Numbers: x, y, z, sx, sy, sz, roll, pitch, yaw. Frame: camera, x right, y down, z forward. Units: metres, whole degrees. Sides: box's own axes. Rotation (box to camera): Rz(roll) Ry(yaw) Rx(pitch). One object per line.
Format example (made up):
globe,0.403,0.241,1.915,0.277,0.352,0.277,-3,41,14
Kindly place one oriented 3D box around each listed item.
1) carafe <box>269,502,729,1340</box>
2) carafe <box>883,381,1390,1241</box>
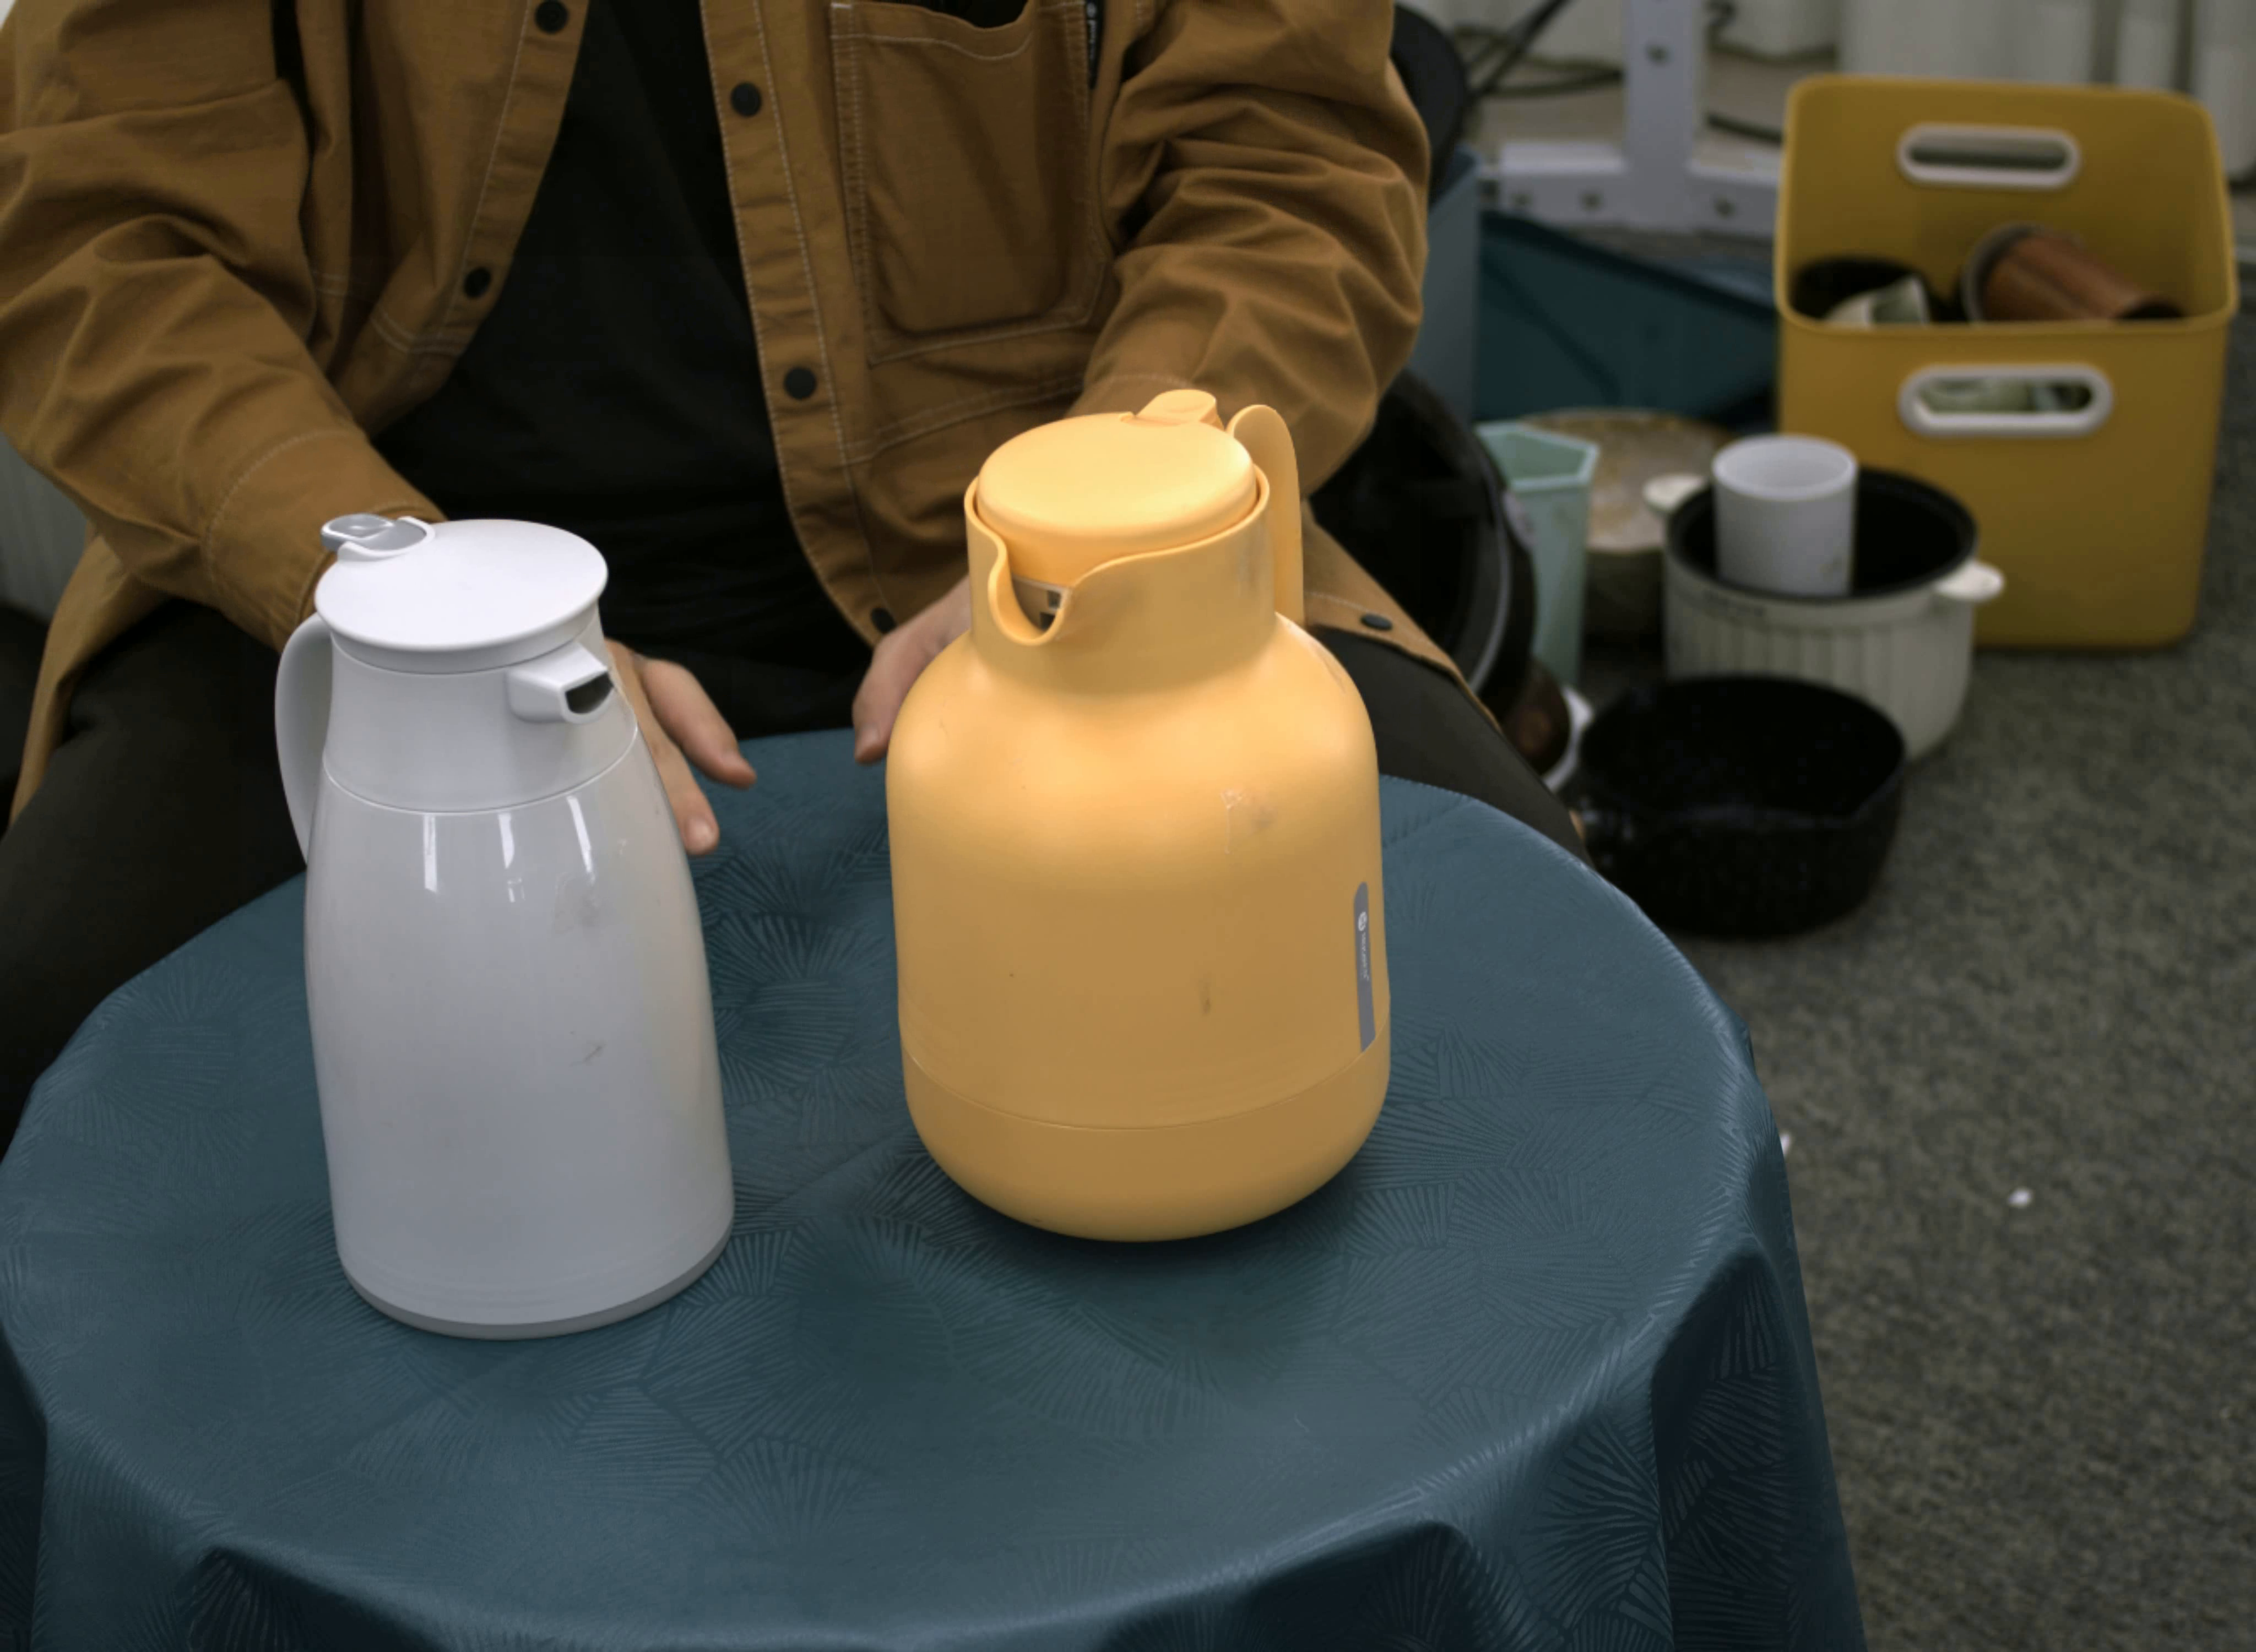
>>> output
carafe,-0.216,0.020,1.809,0.134,0.246,0.167,-26,34,-38
carafe,0.011,-0.014,1.840,0.162,0.257,0.206,11,31,23
